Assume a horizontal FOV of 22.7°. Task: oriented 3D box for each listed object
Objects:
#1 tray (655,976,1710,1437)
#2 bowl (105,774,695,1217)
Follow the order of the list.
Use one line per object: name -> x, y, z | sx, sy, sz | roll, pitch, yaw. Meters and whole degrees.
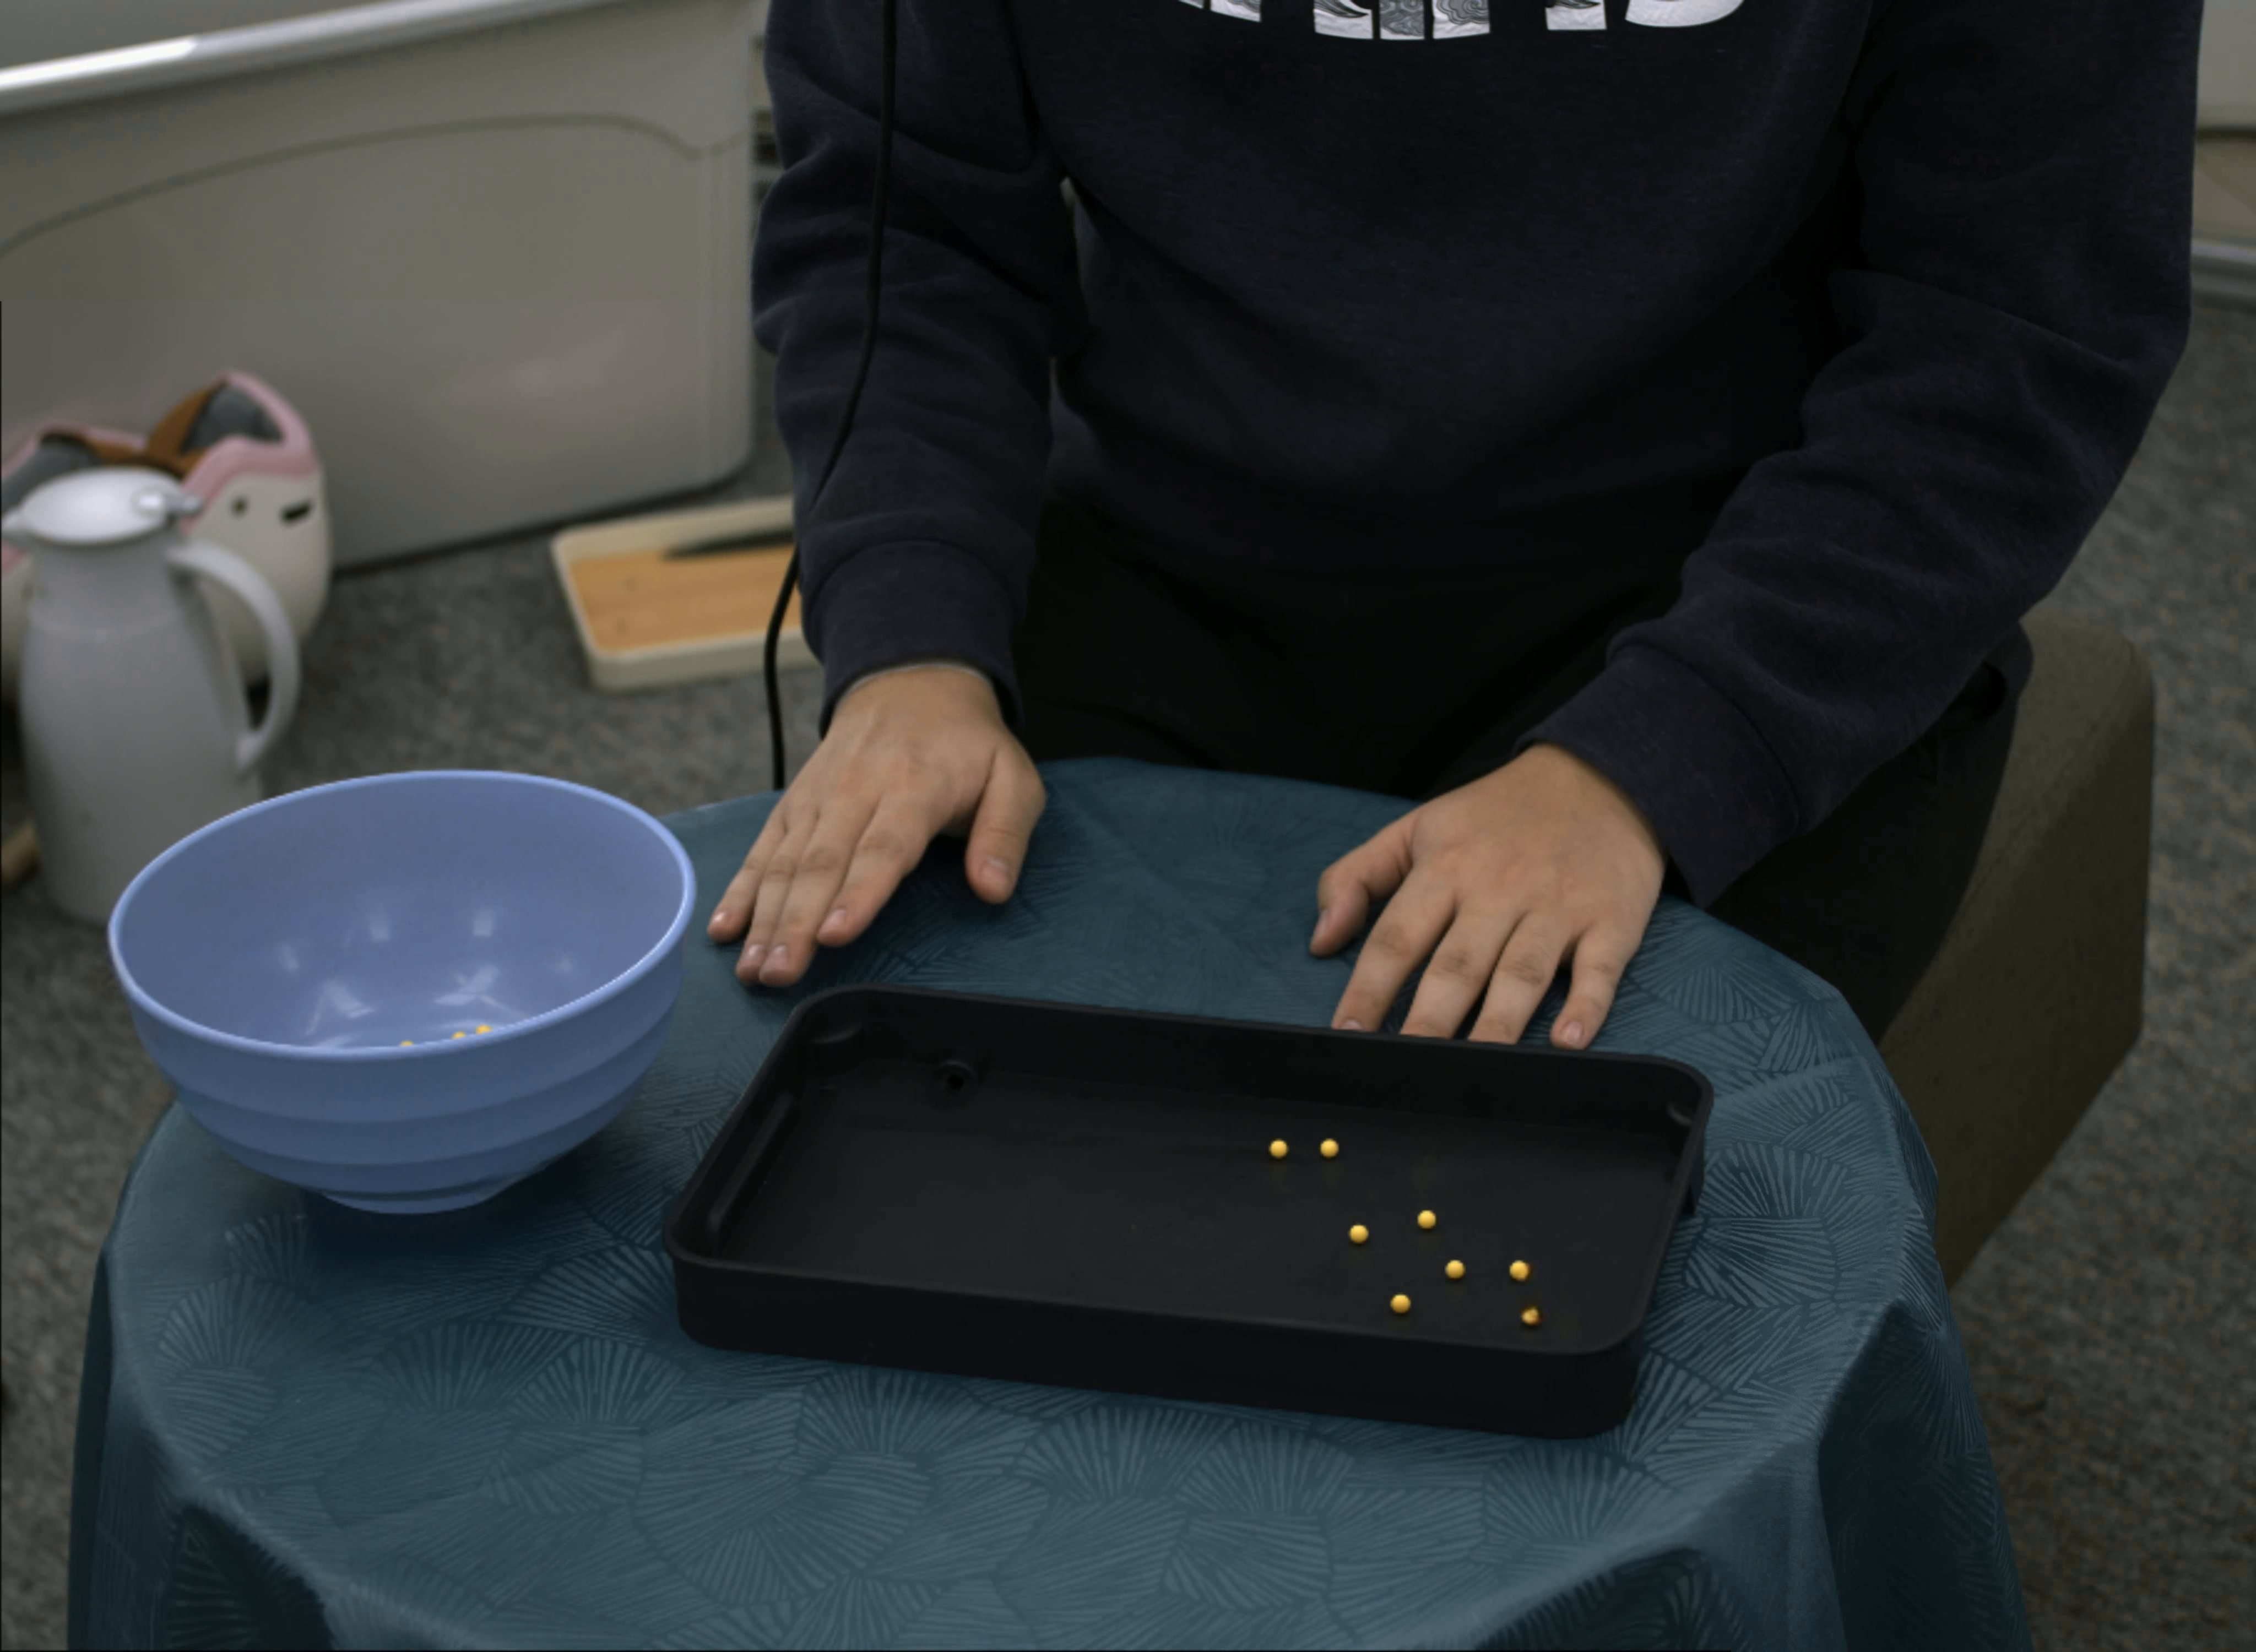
tray -> 0.020, 0.120, 1.825 | 0.316, 0.036, 0.187 | 5, 28, 14
bowl -> -0.239, 0.068, 1.889 | 0.195, 0.094, 0.199 | -3, 27, 2
